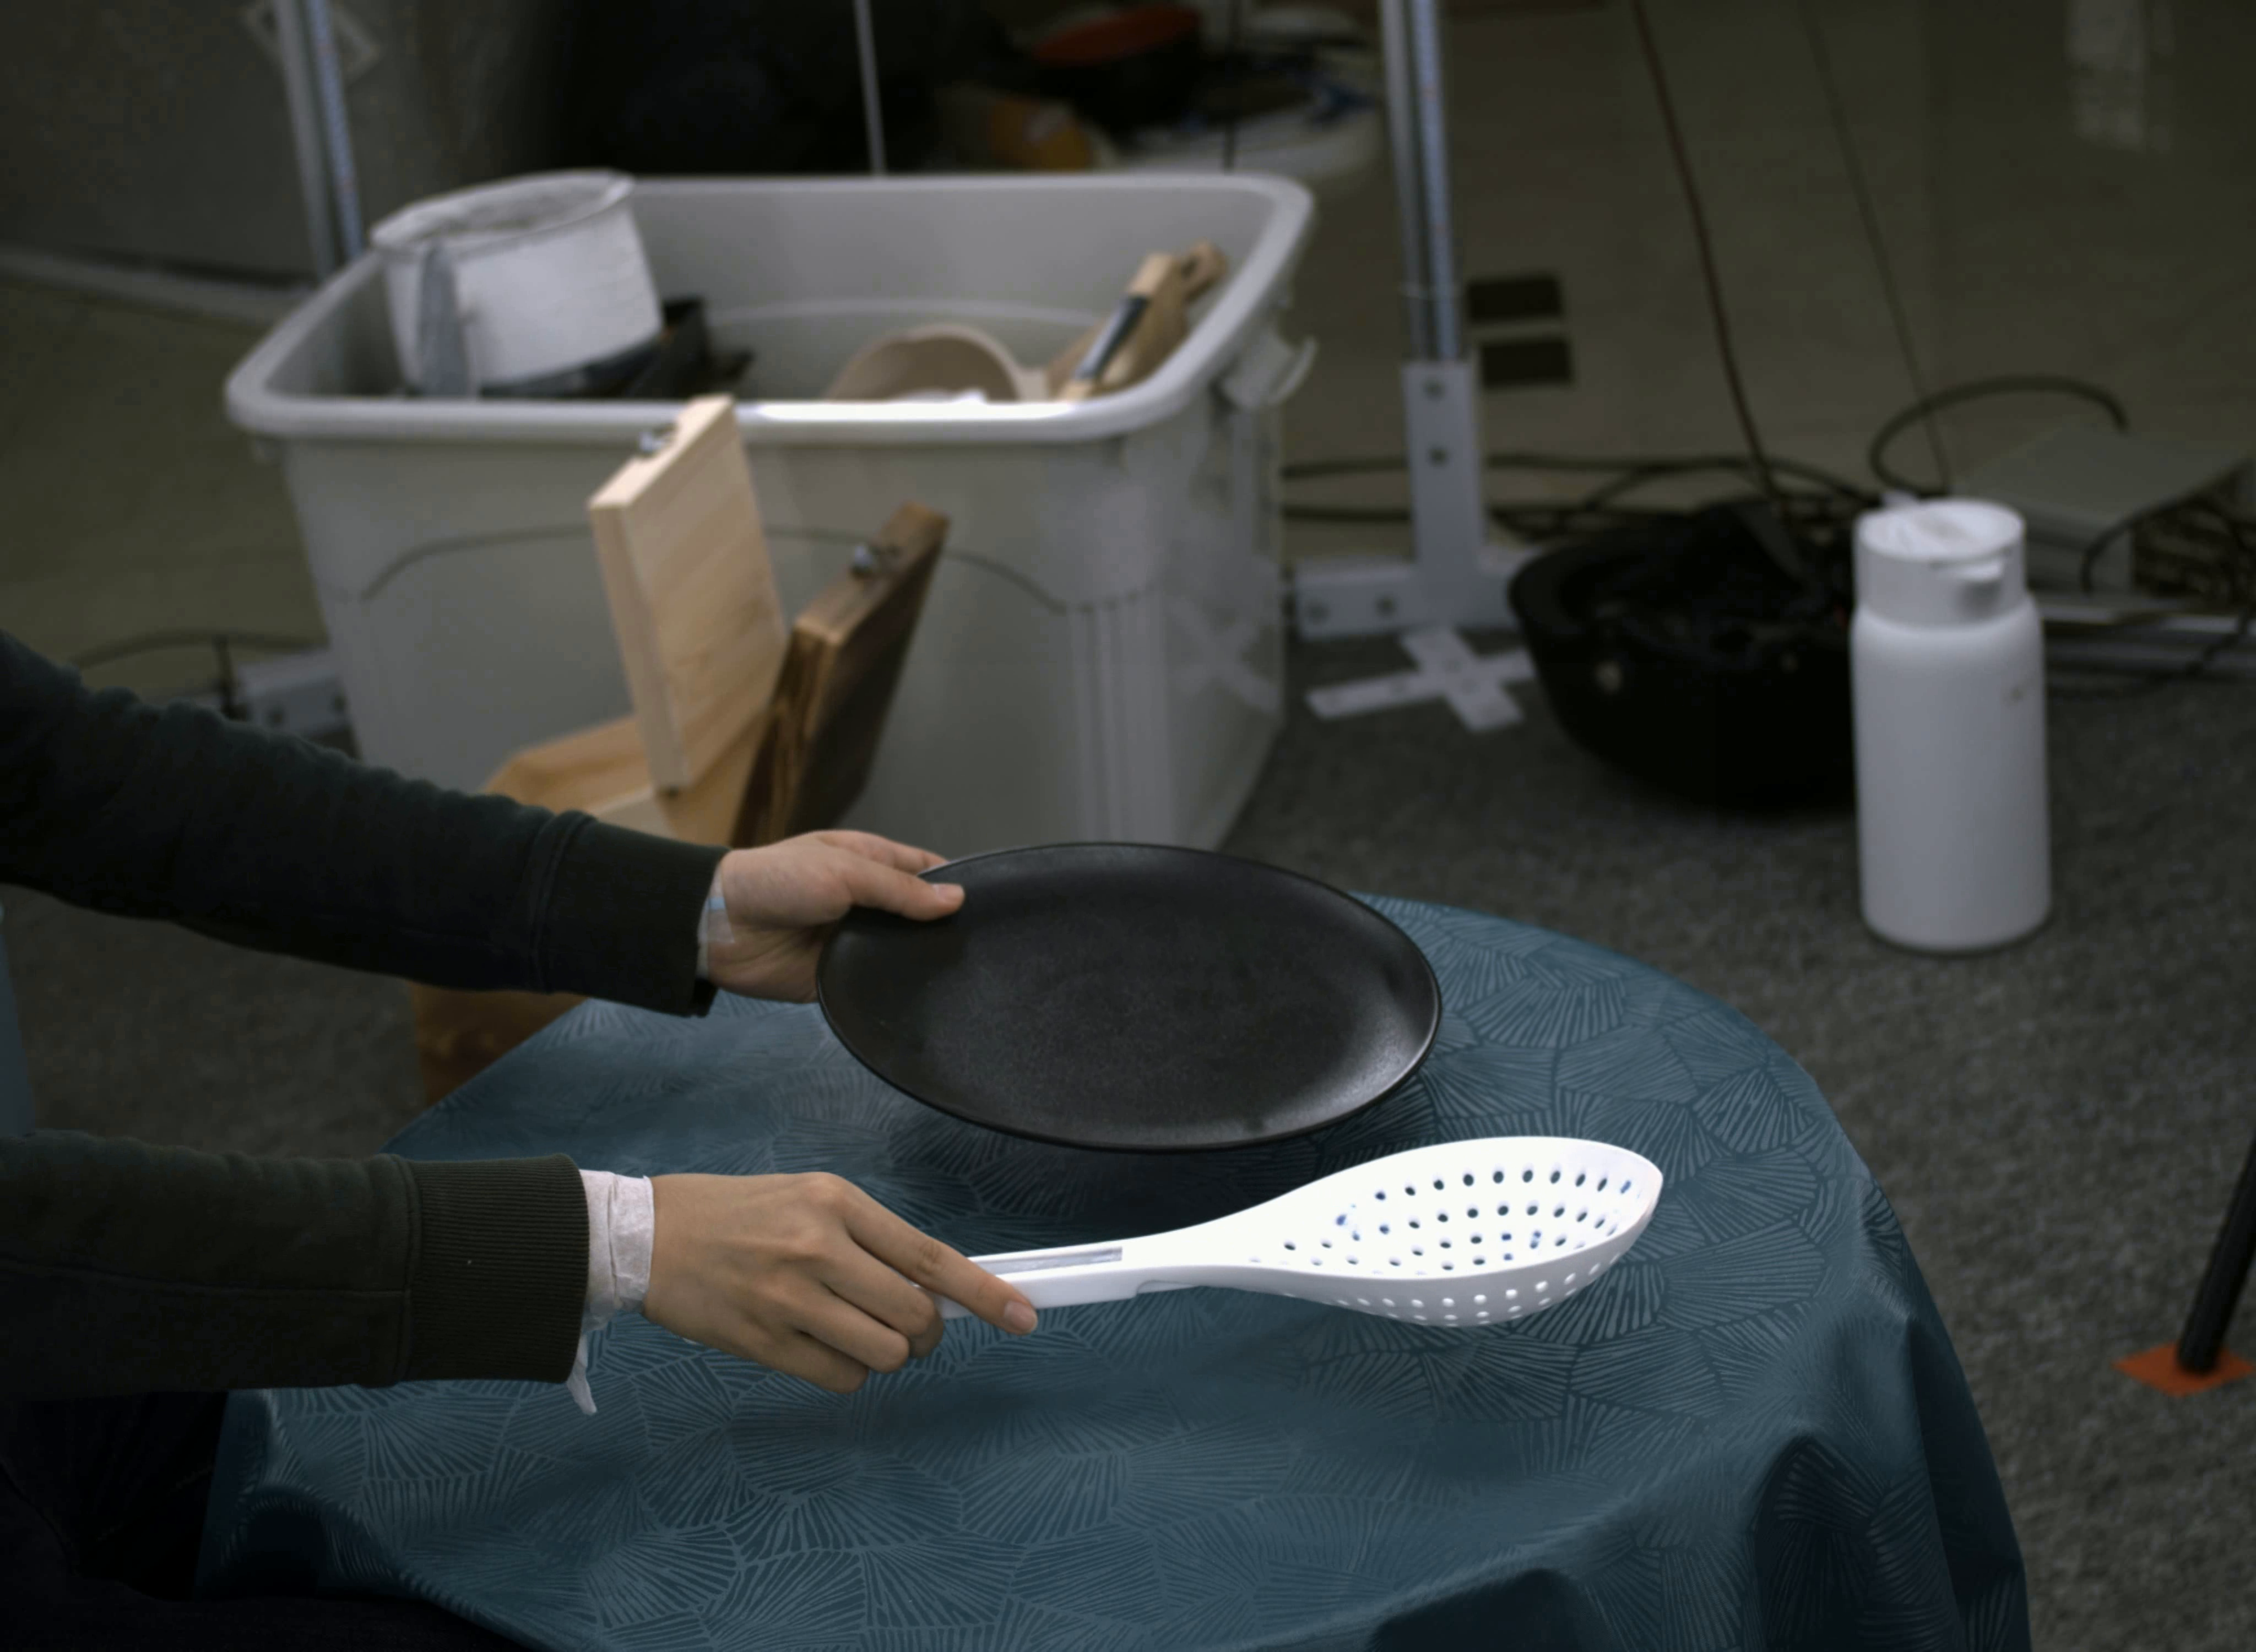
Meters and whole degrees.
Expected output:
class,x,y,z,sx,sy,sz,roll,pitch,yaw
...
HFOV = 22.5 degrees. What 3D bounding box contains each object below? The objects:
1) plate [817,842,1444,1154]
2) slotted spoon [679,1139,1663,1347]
class,x,y,z,sx,sy,sz,roll,pitch,yaw
plate,0.001,0.072,2.196,0.244,0.024,0.240,3,28,-1
slotted spoon,0.014,0.154,2.004,0.349,0.046,0.134,-3,15,3
